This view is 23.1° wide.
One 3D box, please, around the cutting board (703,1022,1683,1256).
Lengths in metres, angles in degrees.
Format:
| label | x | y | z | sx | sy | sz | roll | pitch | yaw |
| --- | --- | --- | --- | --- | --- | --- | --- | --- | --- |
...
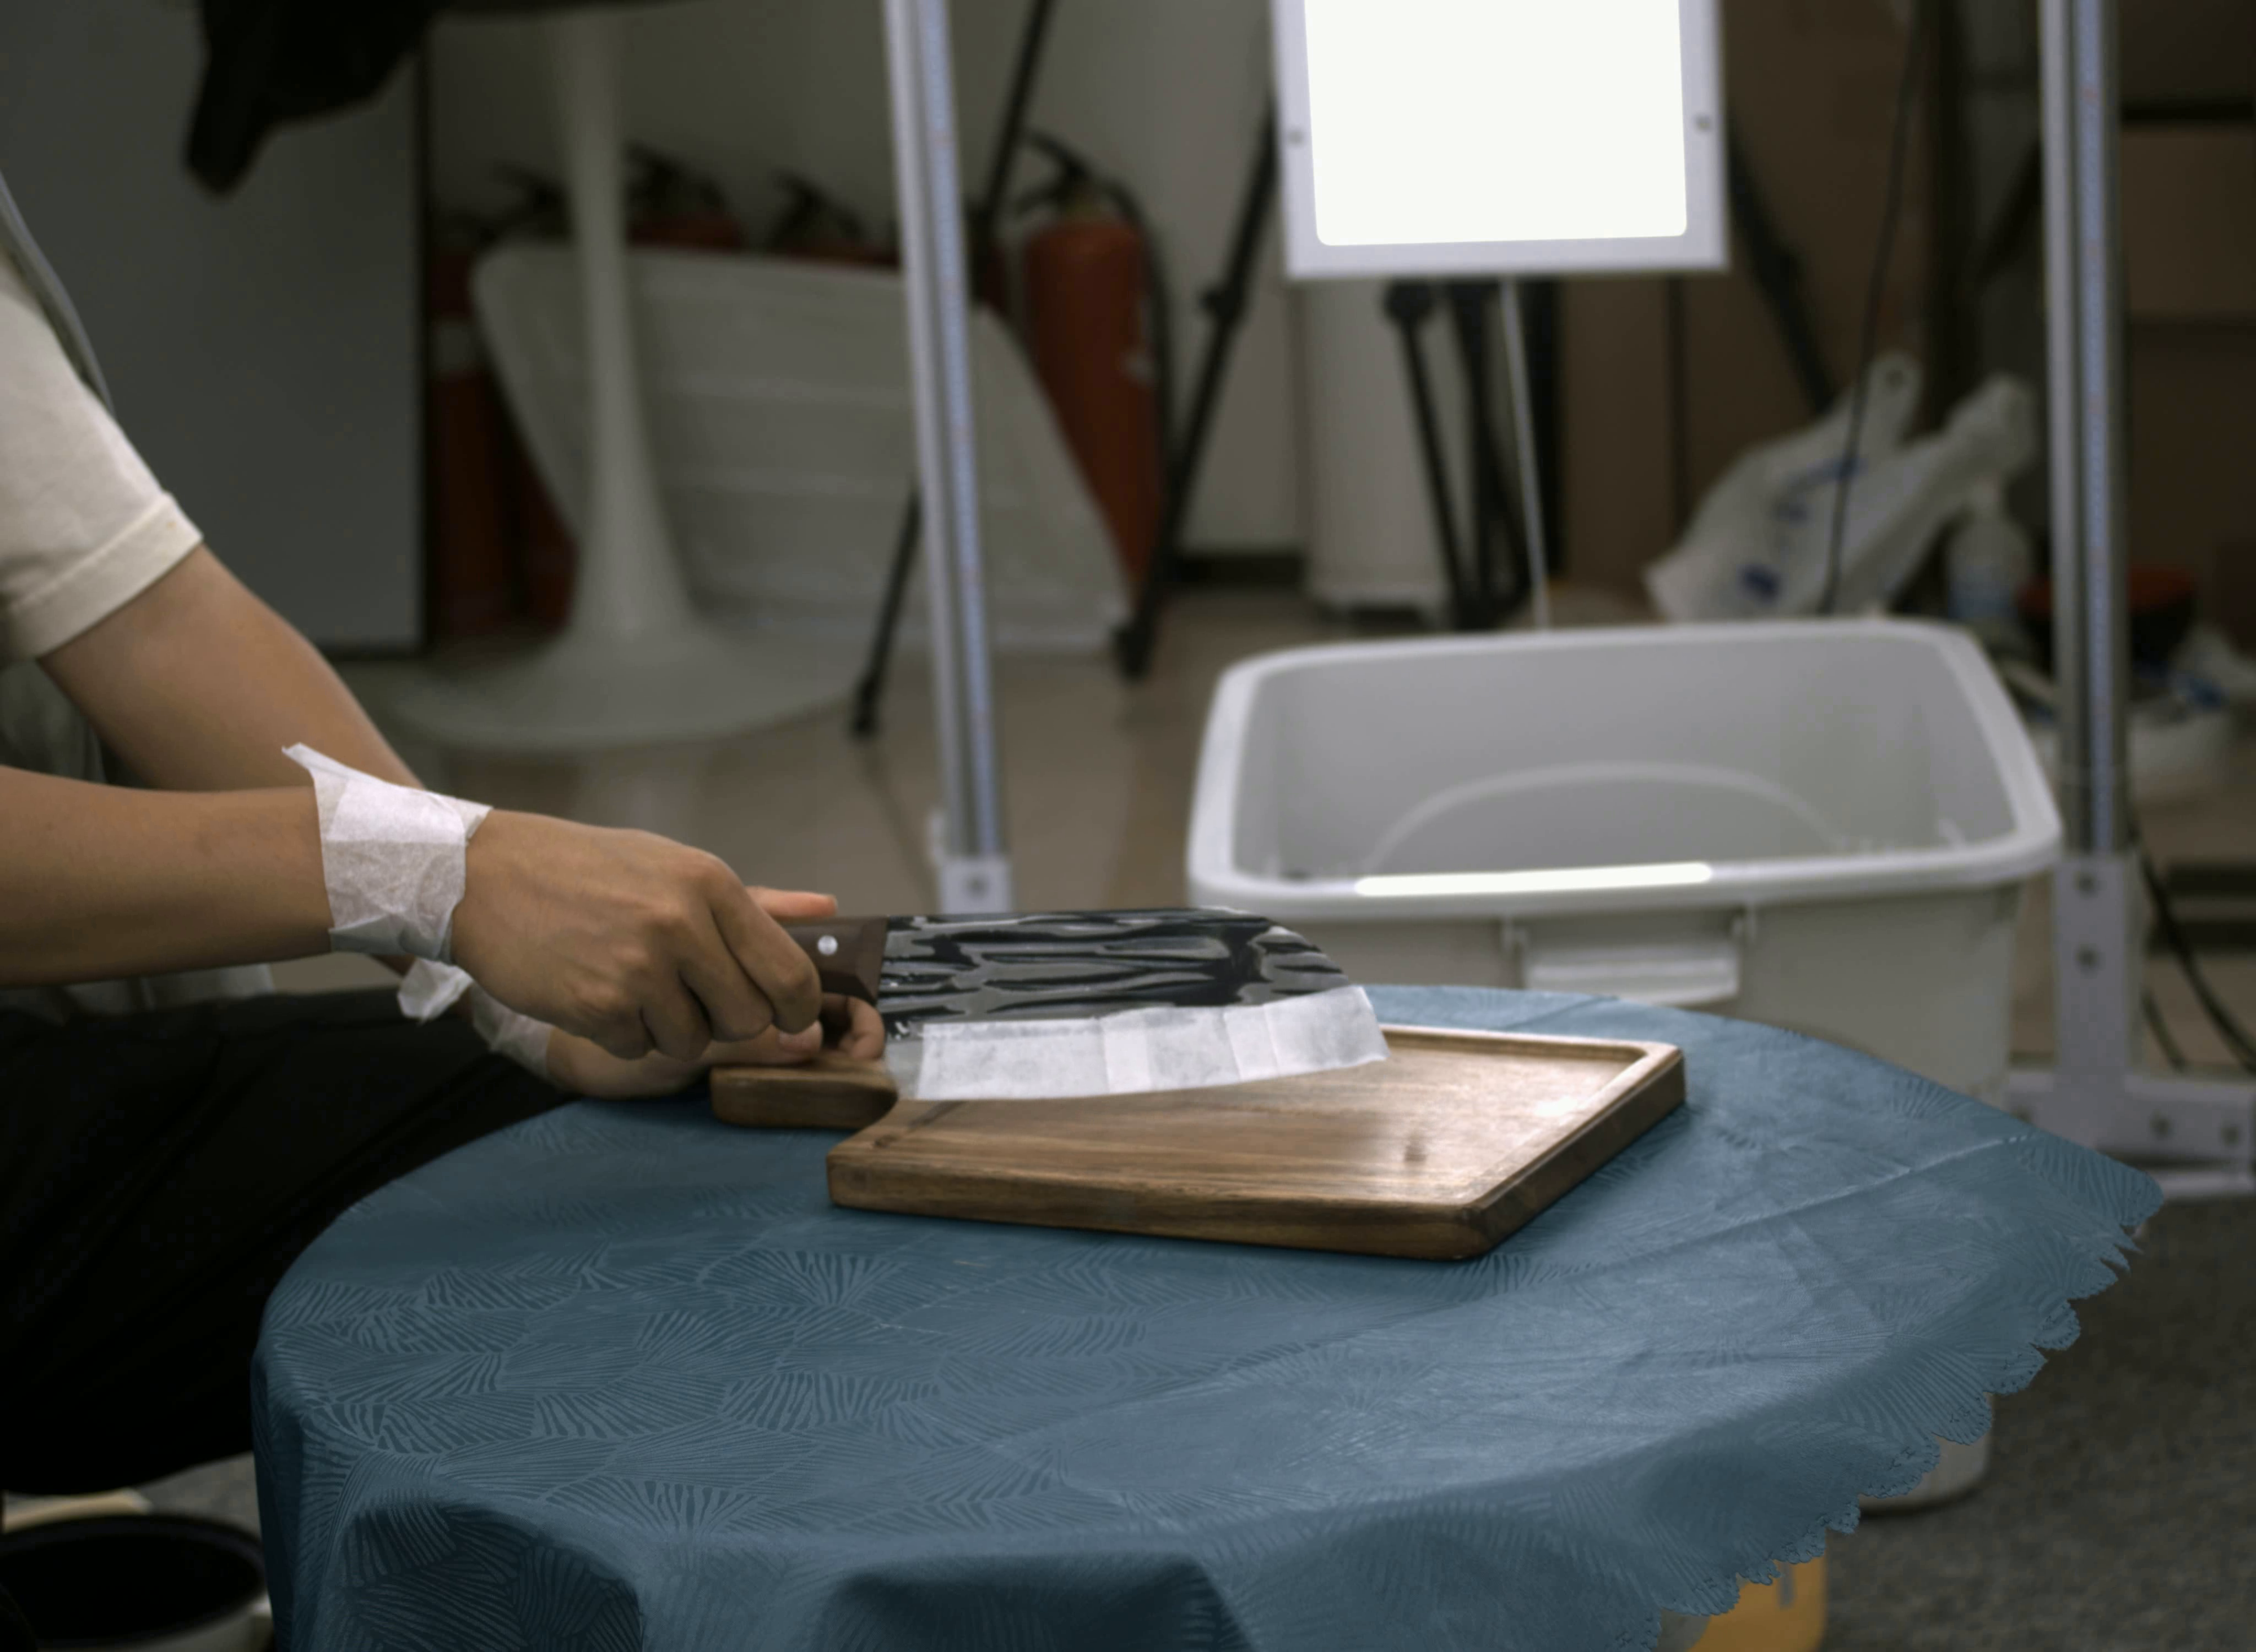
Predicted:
| label | x | y | z | sx | sy | sz | roll | pitch | yaw |
| --- | --- | --- | --- | --- | --- | --- | --- | --- | --- |
| cutting board | 0.002 | 0.102 | 1.954 | 0.359 | 0.023 | 0.196 | 2 | 15 | 30 |

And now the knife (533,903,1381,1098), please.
| label | x | y | z | sx | sy | sz | roll | pitch | yaw |
| --- | --- | --- | --- | --- | --- | --- | --- | --- | --- |
| knife | -0.060 | 0.062 | 1.941 | 0.298 | 0.068 | 0.024 | -1 | -14 | 0 |
